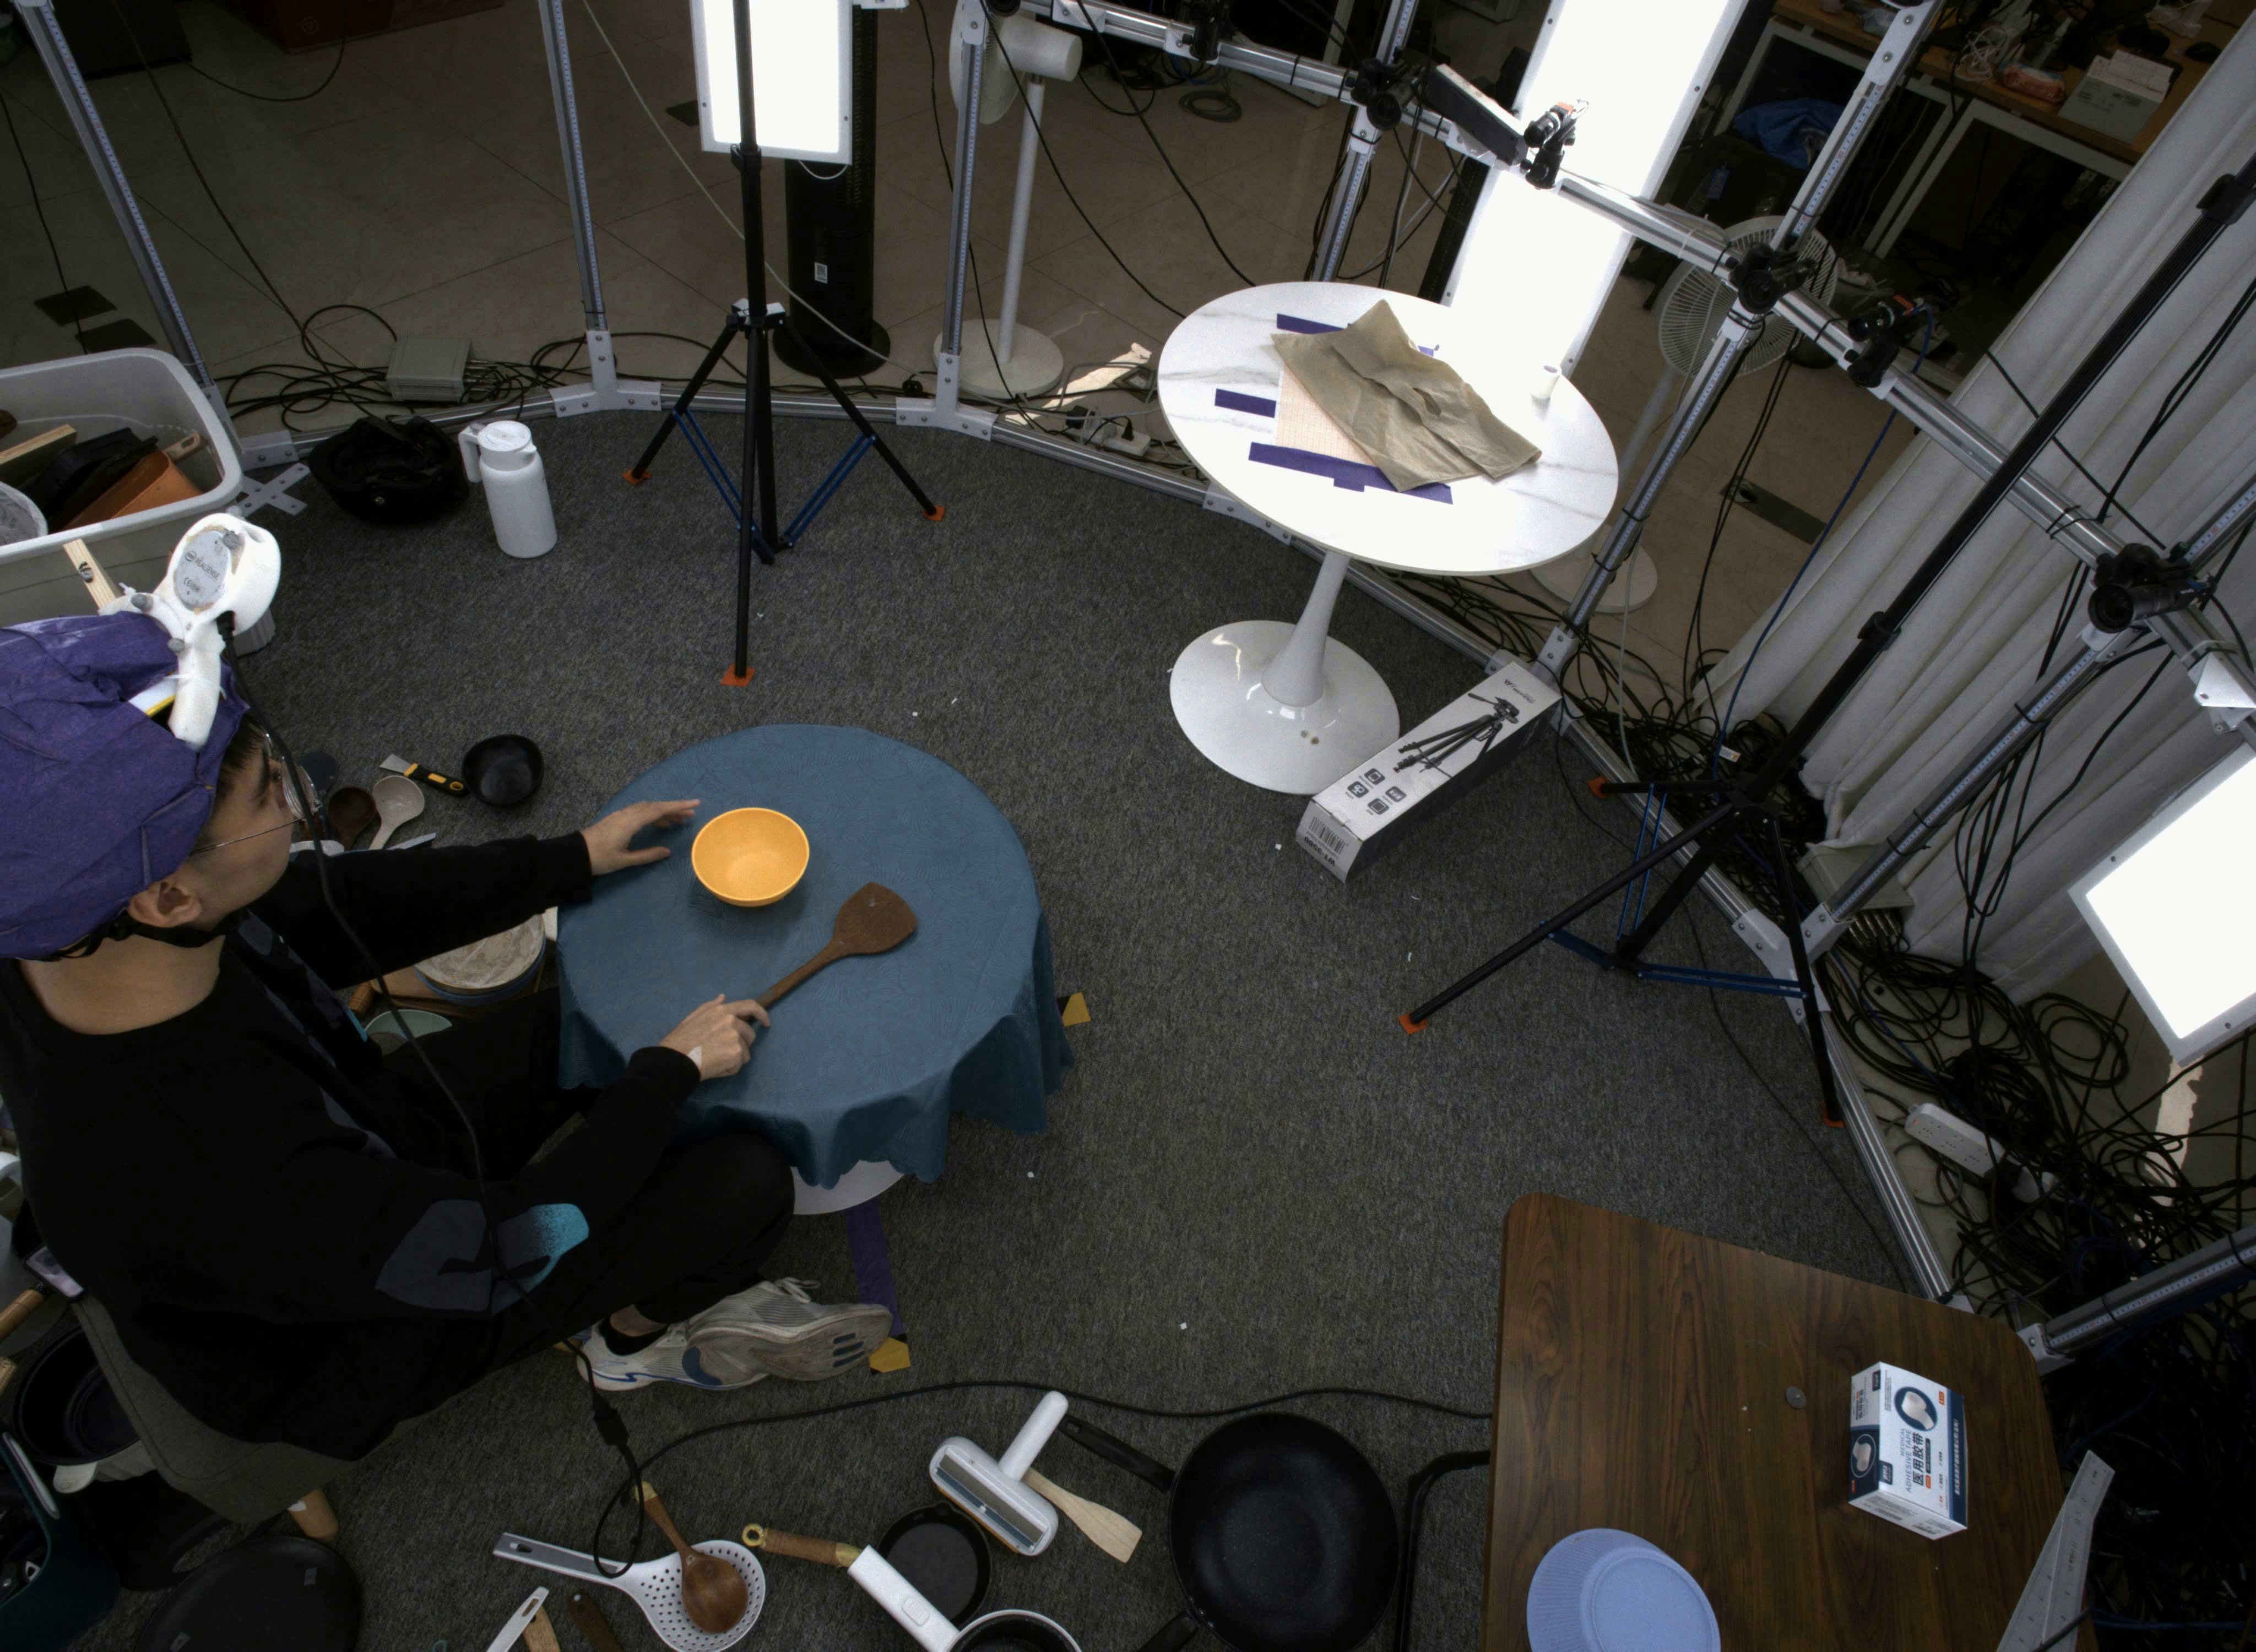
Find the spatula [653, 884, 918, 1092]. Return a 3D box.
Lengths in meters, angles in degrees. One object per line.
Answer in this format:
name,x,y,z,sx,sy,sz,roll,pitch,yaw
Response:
spatula,-0.418,0.195,1.575,0.094,0.016,0.386,39,54,17

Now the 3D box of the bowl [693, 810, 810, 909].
bowl,-0.475,0.052,1.642,0.144,0.061,0.142,6,51,-6
